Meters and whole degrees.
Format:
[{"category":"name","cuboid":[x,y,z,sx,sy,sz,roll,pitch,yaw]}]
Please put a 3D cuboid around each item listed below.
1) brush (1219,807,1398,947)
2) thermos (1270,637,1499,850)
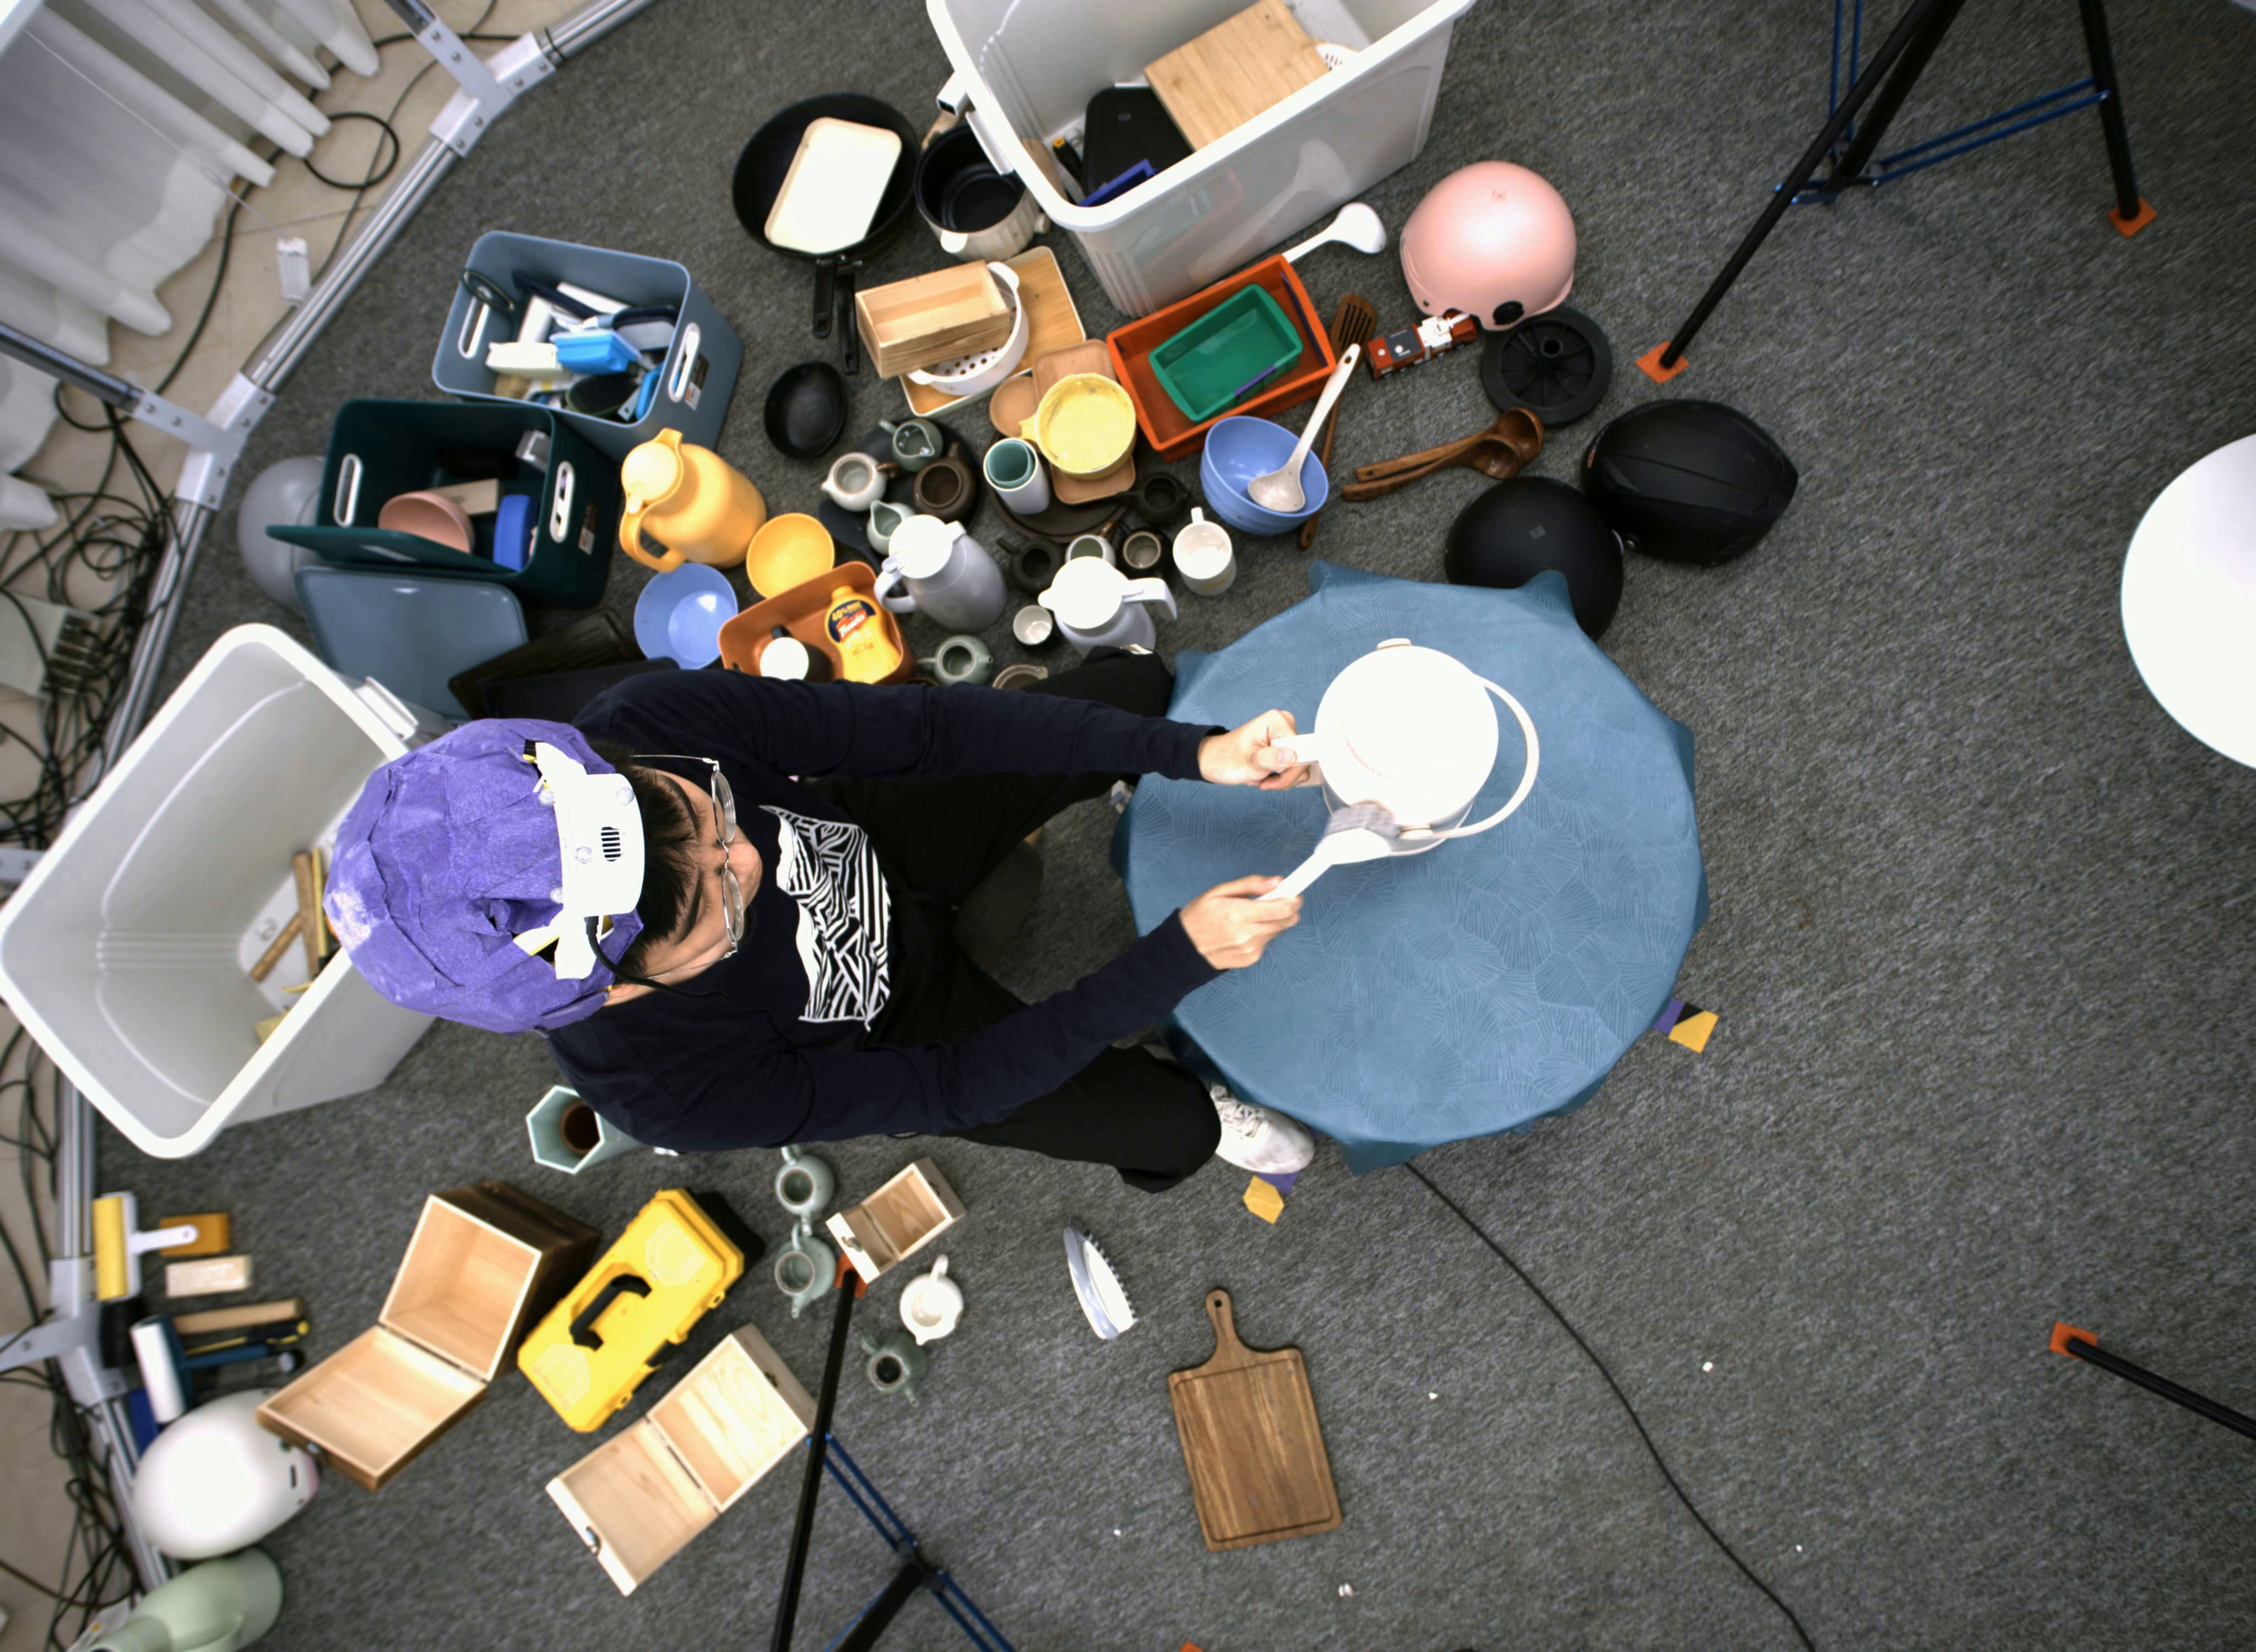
[{"category":"brush","cuboid":[0.154,0.045,1.238,0.034,0.249,0.049,22,56,-21]},{"category":"thermos","cuboid":[0.240,-0.070,1.270,0.208,0.406,0.174,-7,85,9]}]
